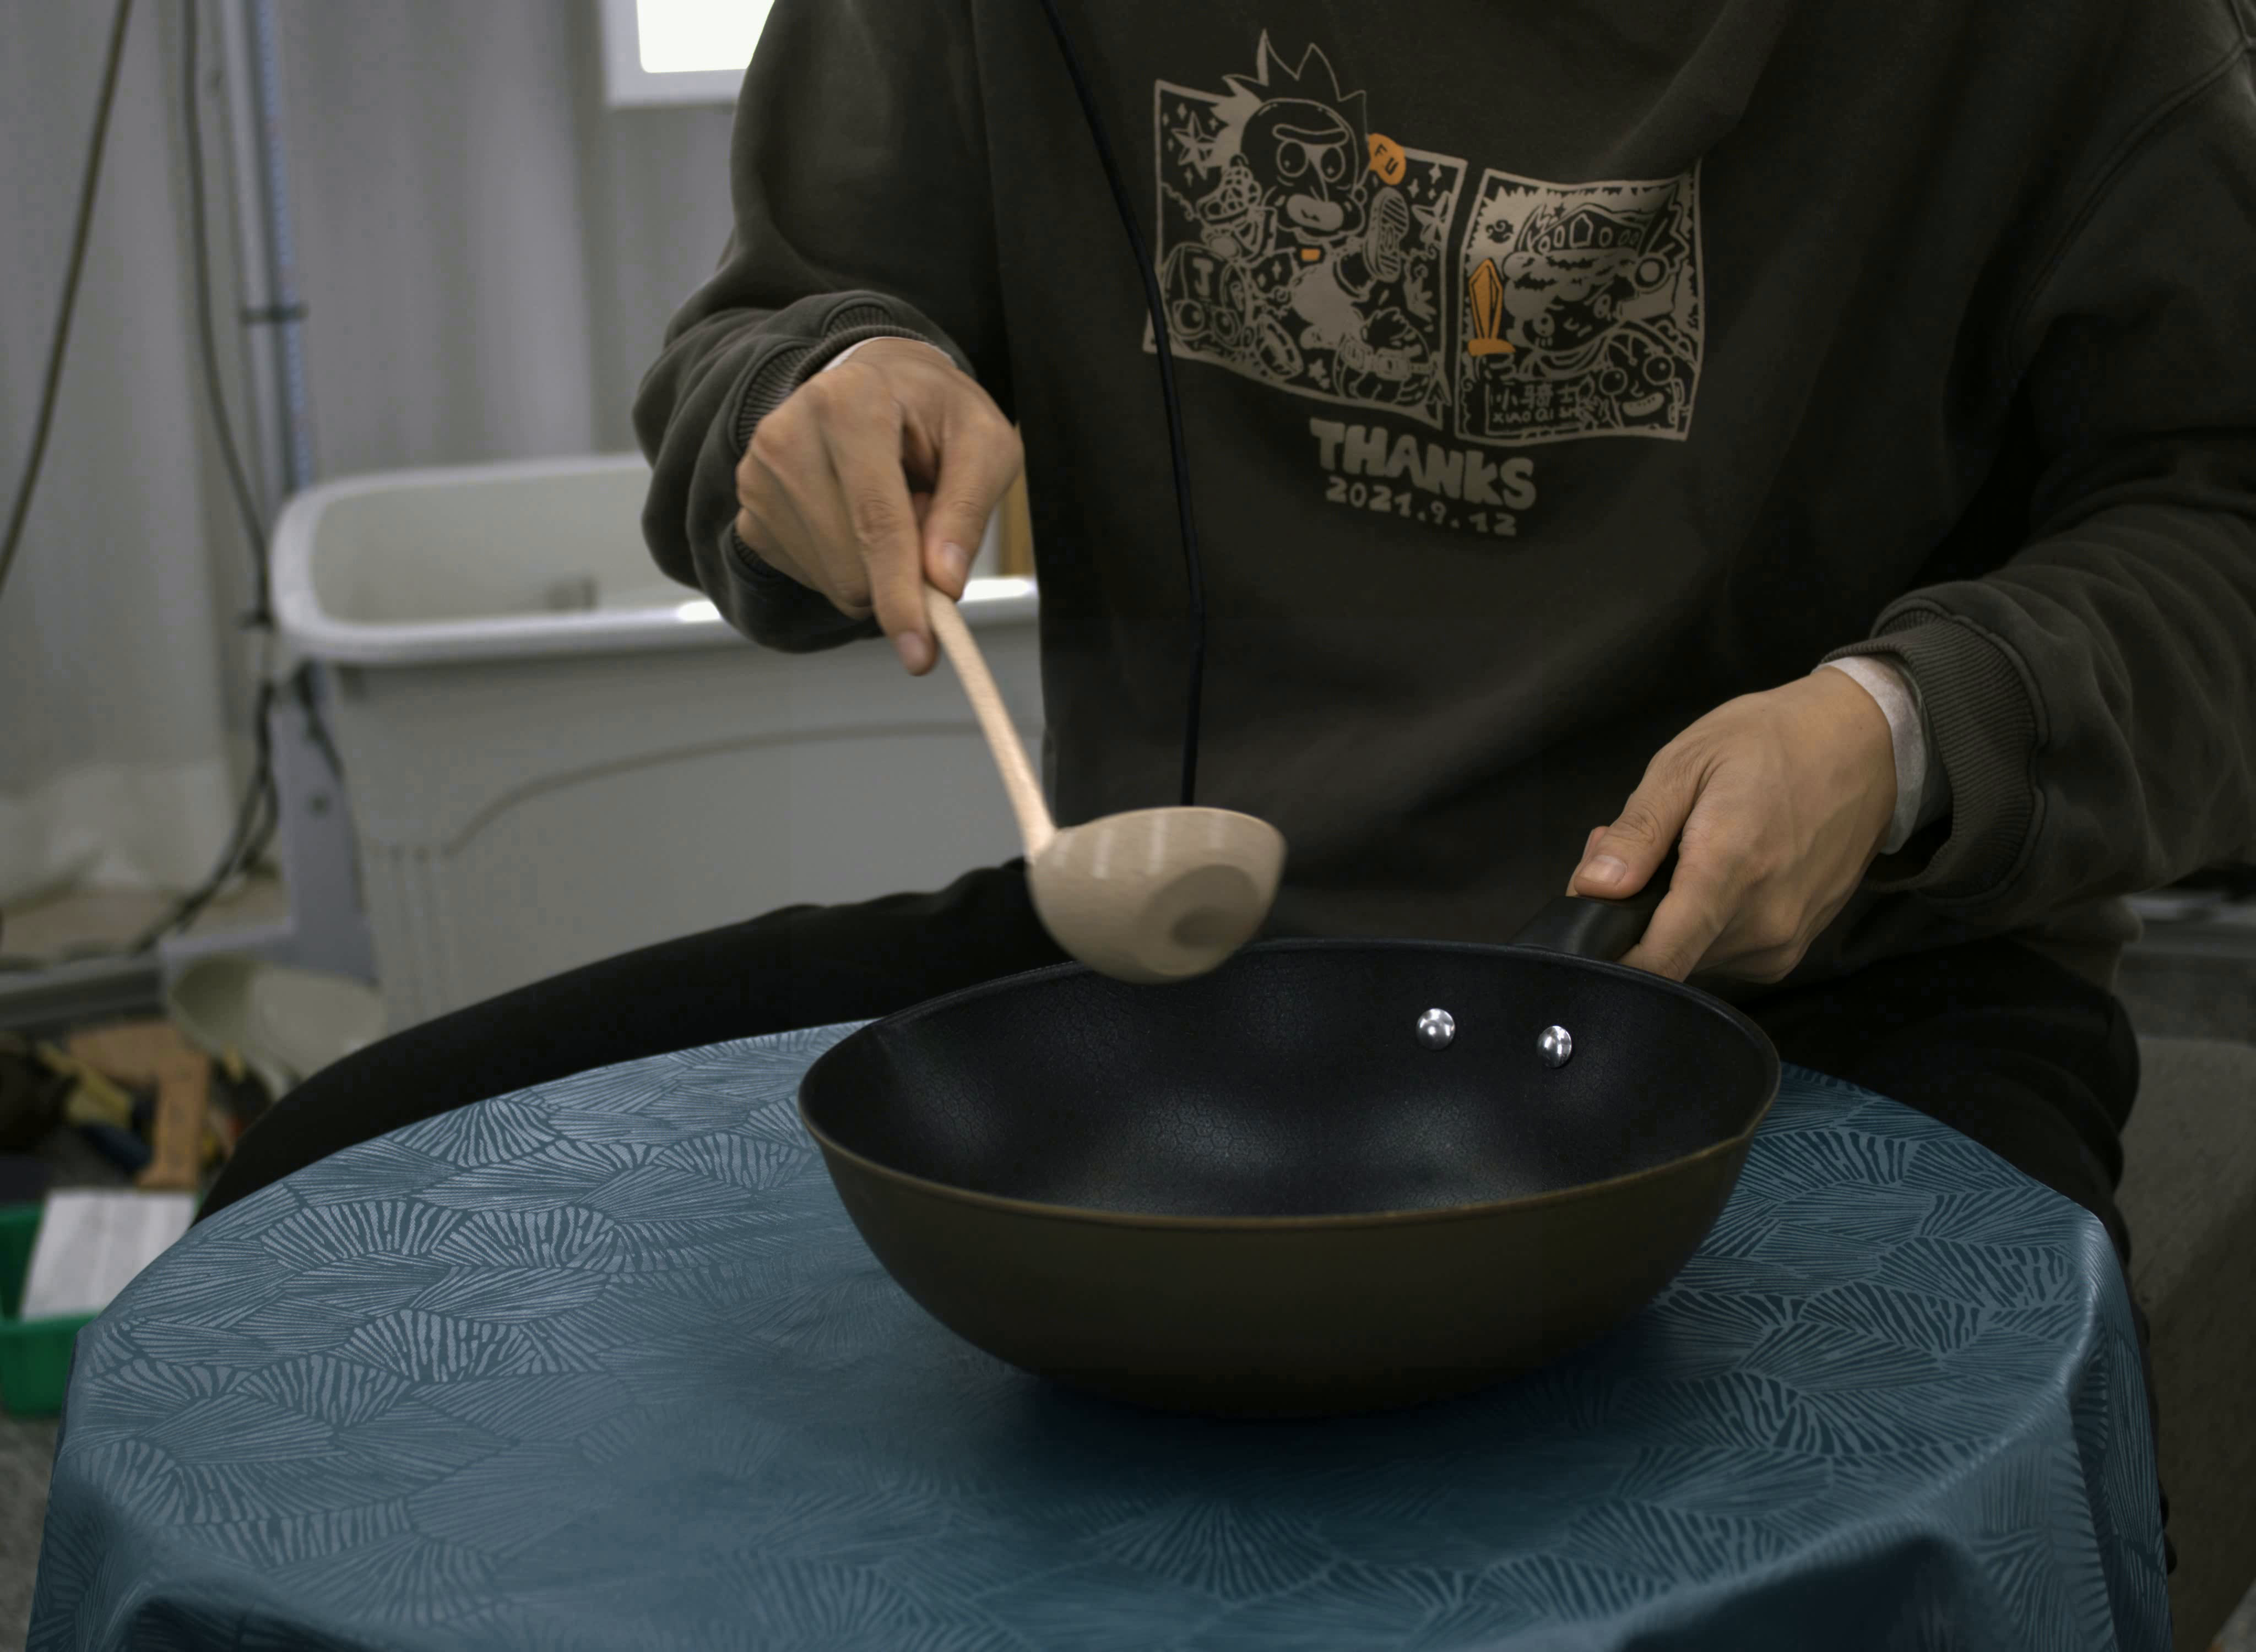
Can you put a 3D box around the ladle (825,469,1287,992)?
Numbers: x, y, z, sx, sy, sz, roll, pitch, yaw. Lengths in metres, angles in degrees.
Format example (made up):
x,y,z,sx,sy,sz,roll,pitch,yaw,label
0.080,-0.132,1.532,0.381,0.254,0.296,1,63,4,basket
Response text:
x,y,z,sx,sy,sz,roll,pitch,yaw,label
-0.027,-0.052,1.645,0.071,0.072,0.258,10,37,-37,ladle

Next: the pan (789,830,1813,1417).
x,y,z,sx,sy,sz,roll,pitch,yaw,label
0.092,0.086,1.653,0.289,0.086,0.463,6,16,31,pan
